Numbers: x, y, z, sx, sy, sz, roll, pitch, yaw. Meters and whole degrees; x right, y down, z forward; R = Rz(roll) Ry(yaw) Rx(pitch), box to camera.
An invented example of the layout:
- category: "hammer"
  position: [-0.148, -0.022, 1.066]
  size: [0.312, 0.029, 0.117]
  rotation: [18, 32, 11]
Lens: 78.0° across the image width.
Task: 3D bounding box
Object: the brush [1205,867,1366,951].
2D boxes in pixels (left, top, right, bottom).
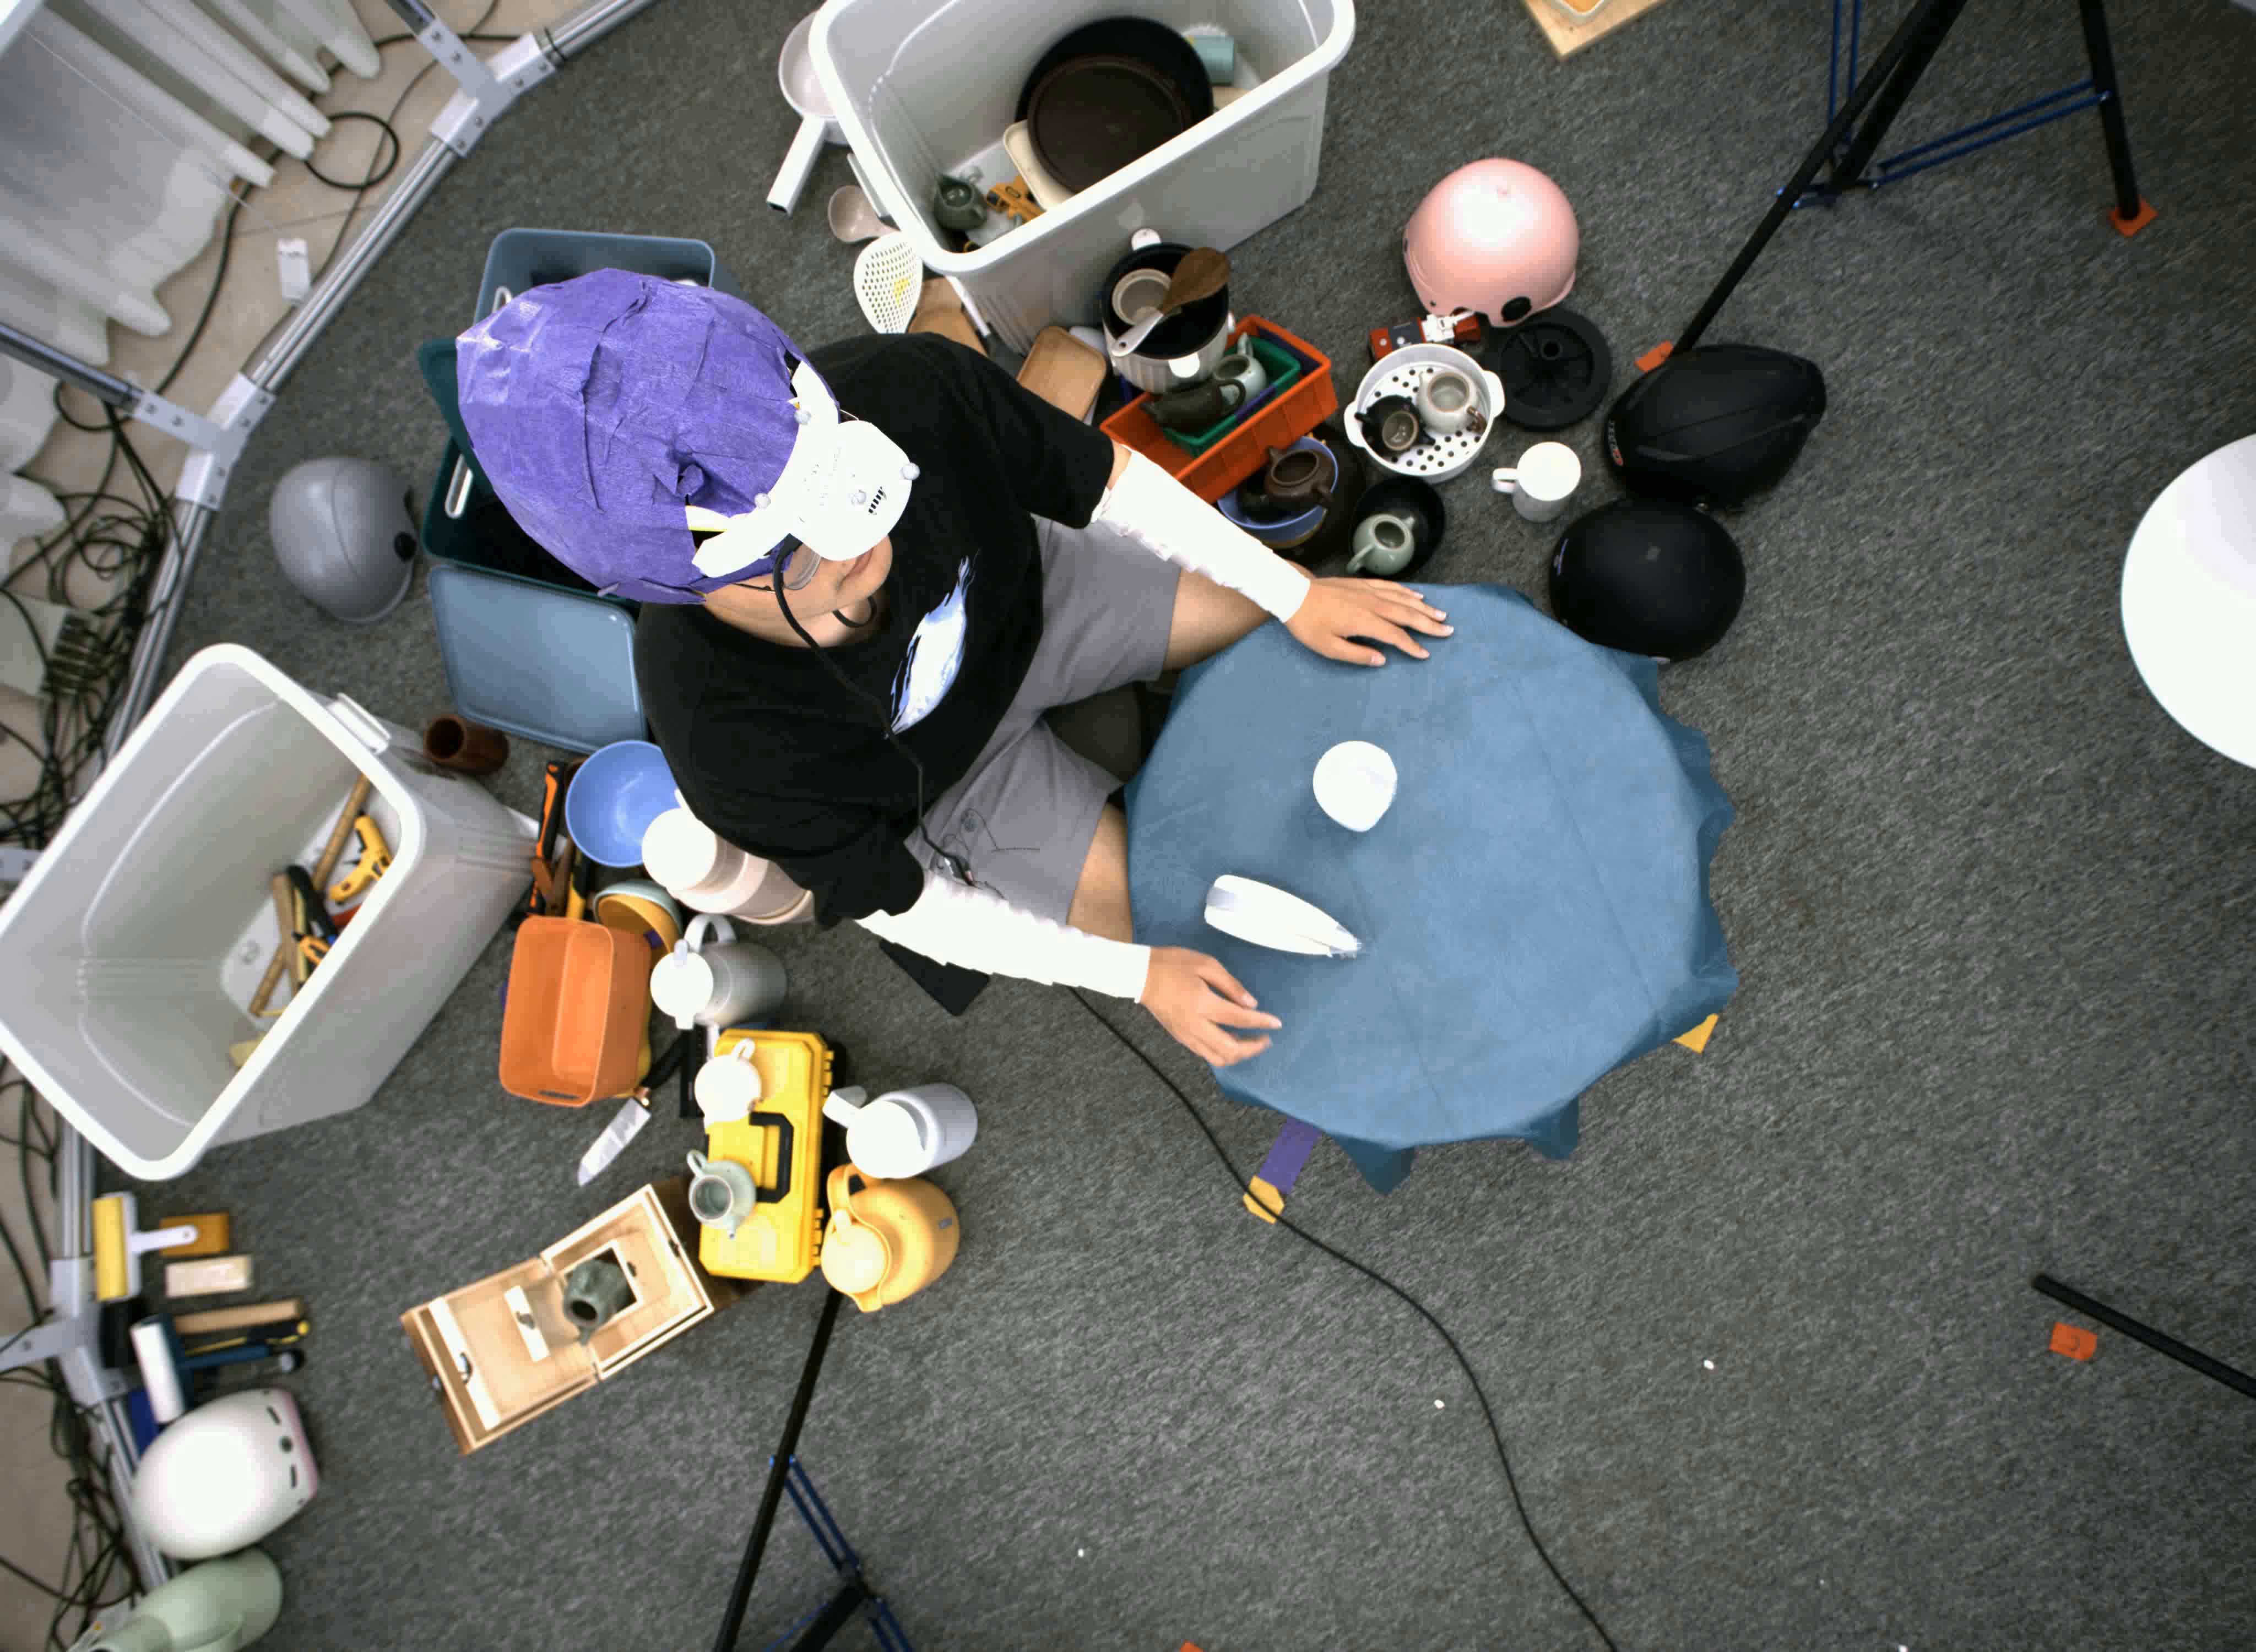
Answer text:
- category: "brush"
  position: [0.162, 0.094, 1.432]
  size: [0.175, 0.094, 0.061]
  rotation: [20, 94, 9]

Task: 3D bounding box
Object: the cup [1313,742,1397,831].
- category: "cup"
  position: [0.232, -0.039, 1.408]
  size: [0.082, 0.125, 0.081]
  rotation: [-1, 86, 10]
